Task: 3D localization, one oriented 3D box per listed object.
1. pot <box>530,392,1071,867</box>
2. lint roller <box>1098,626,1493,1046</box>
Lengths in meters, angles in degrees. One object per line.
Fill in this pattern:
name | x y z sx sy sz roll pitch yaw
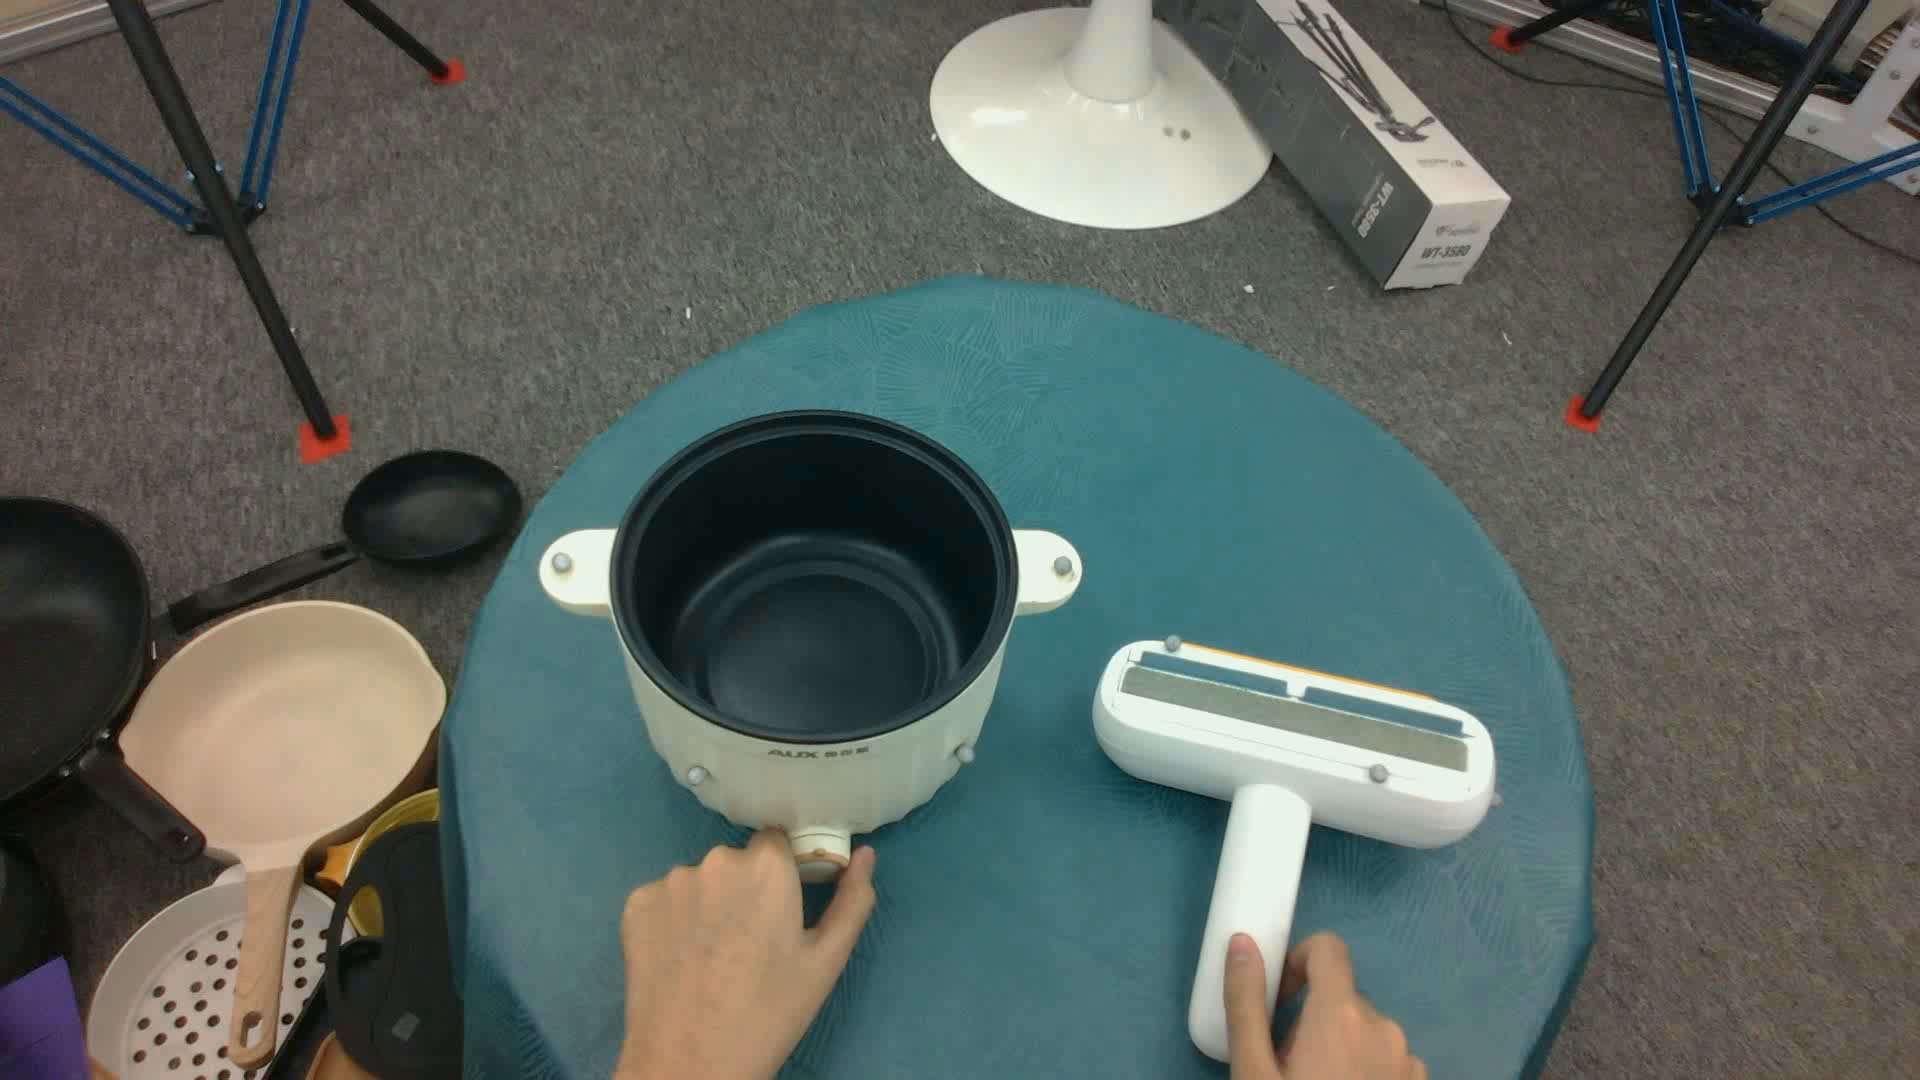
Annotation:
pot | -0.072 0.045 0.661 0.240 0.142 0.191 -1 51 -6
lint roller | 0.142 0.143 0.658 0.193 0.074 0.193 18 55 13
